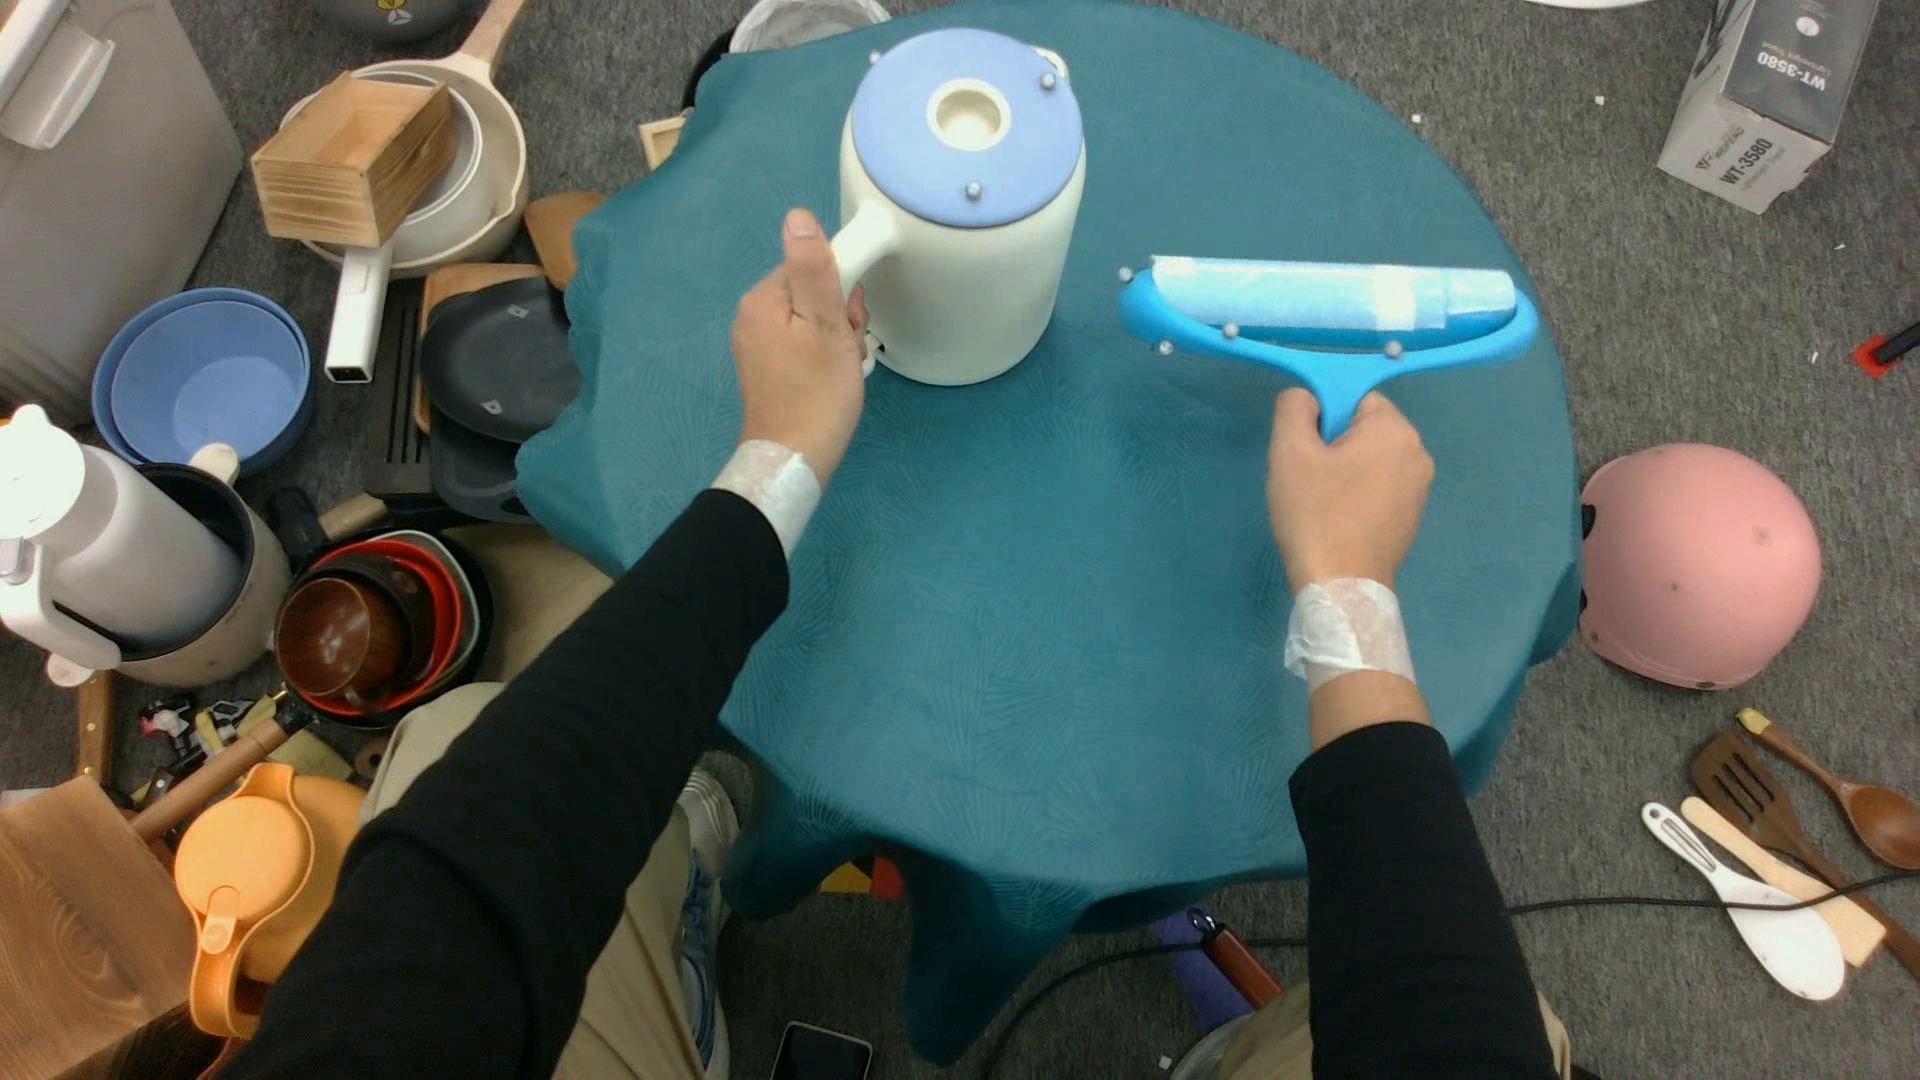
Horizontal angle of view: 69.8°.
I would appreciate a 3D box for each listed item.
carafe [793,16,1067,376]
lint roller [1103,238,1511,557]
[{"bbox_3d":[-0.028,-0.172,0.769,0.132,0.182,0.191,38,72,10],"label":"carafe"},{"bbox_3d":[0.192,-0.084,0.755,0.229,0.067,0.181,5,61,-1],"label":"lint roller"}]
